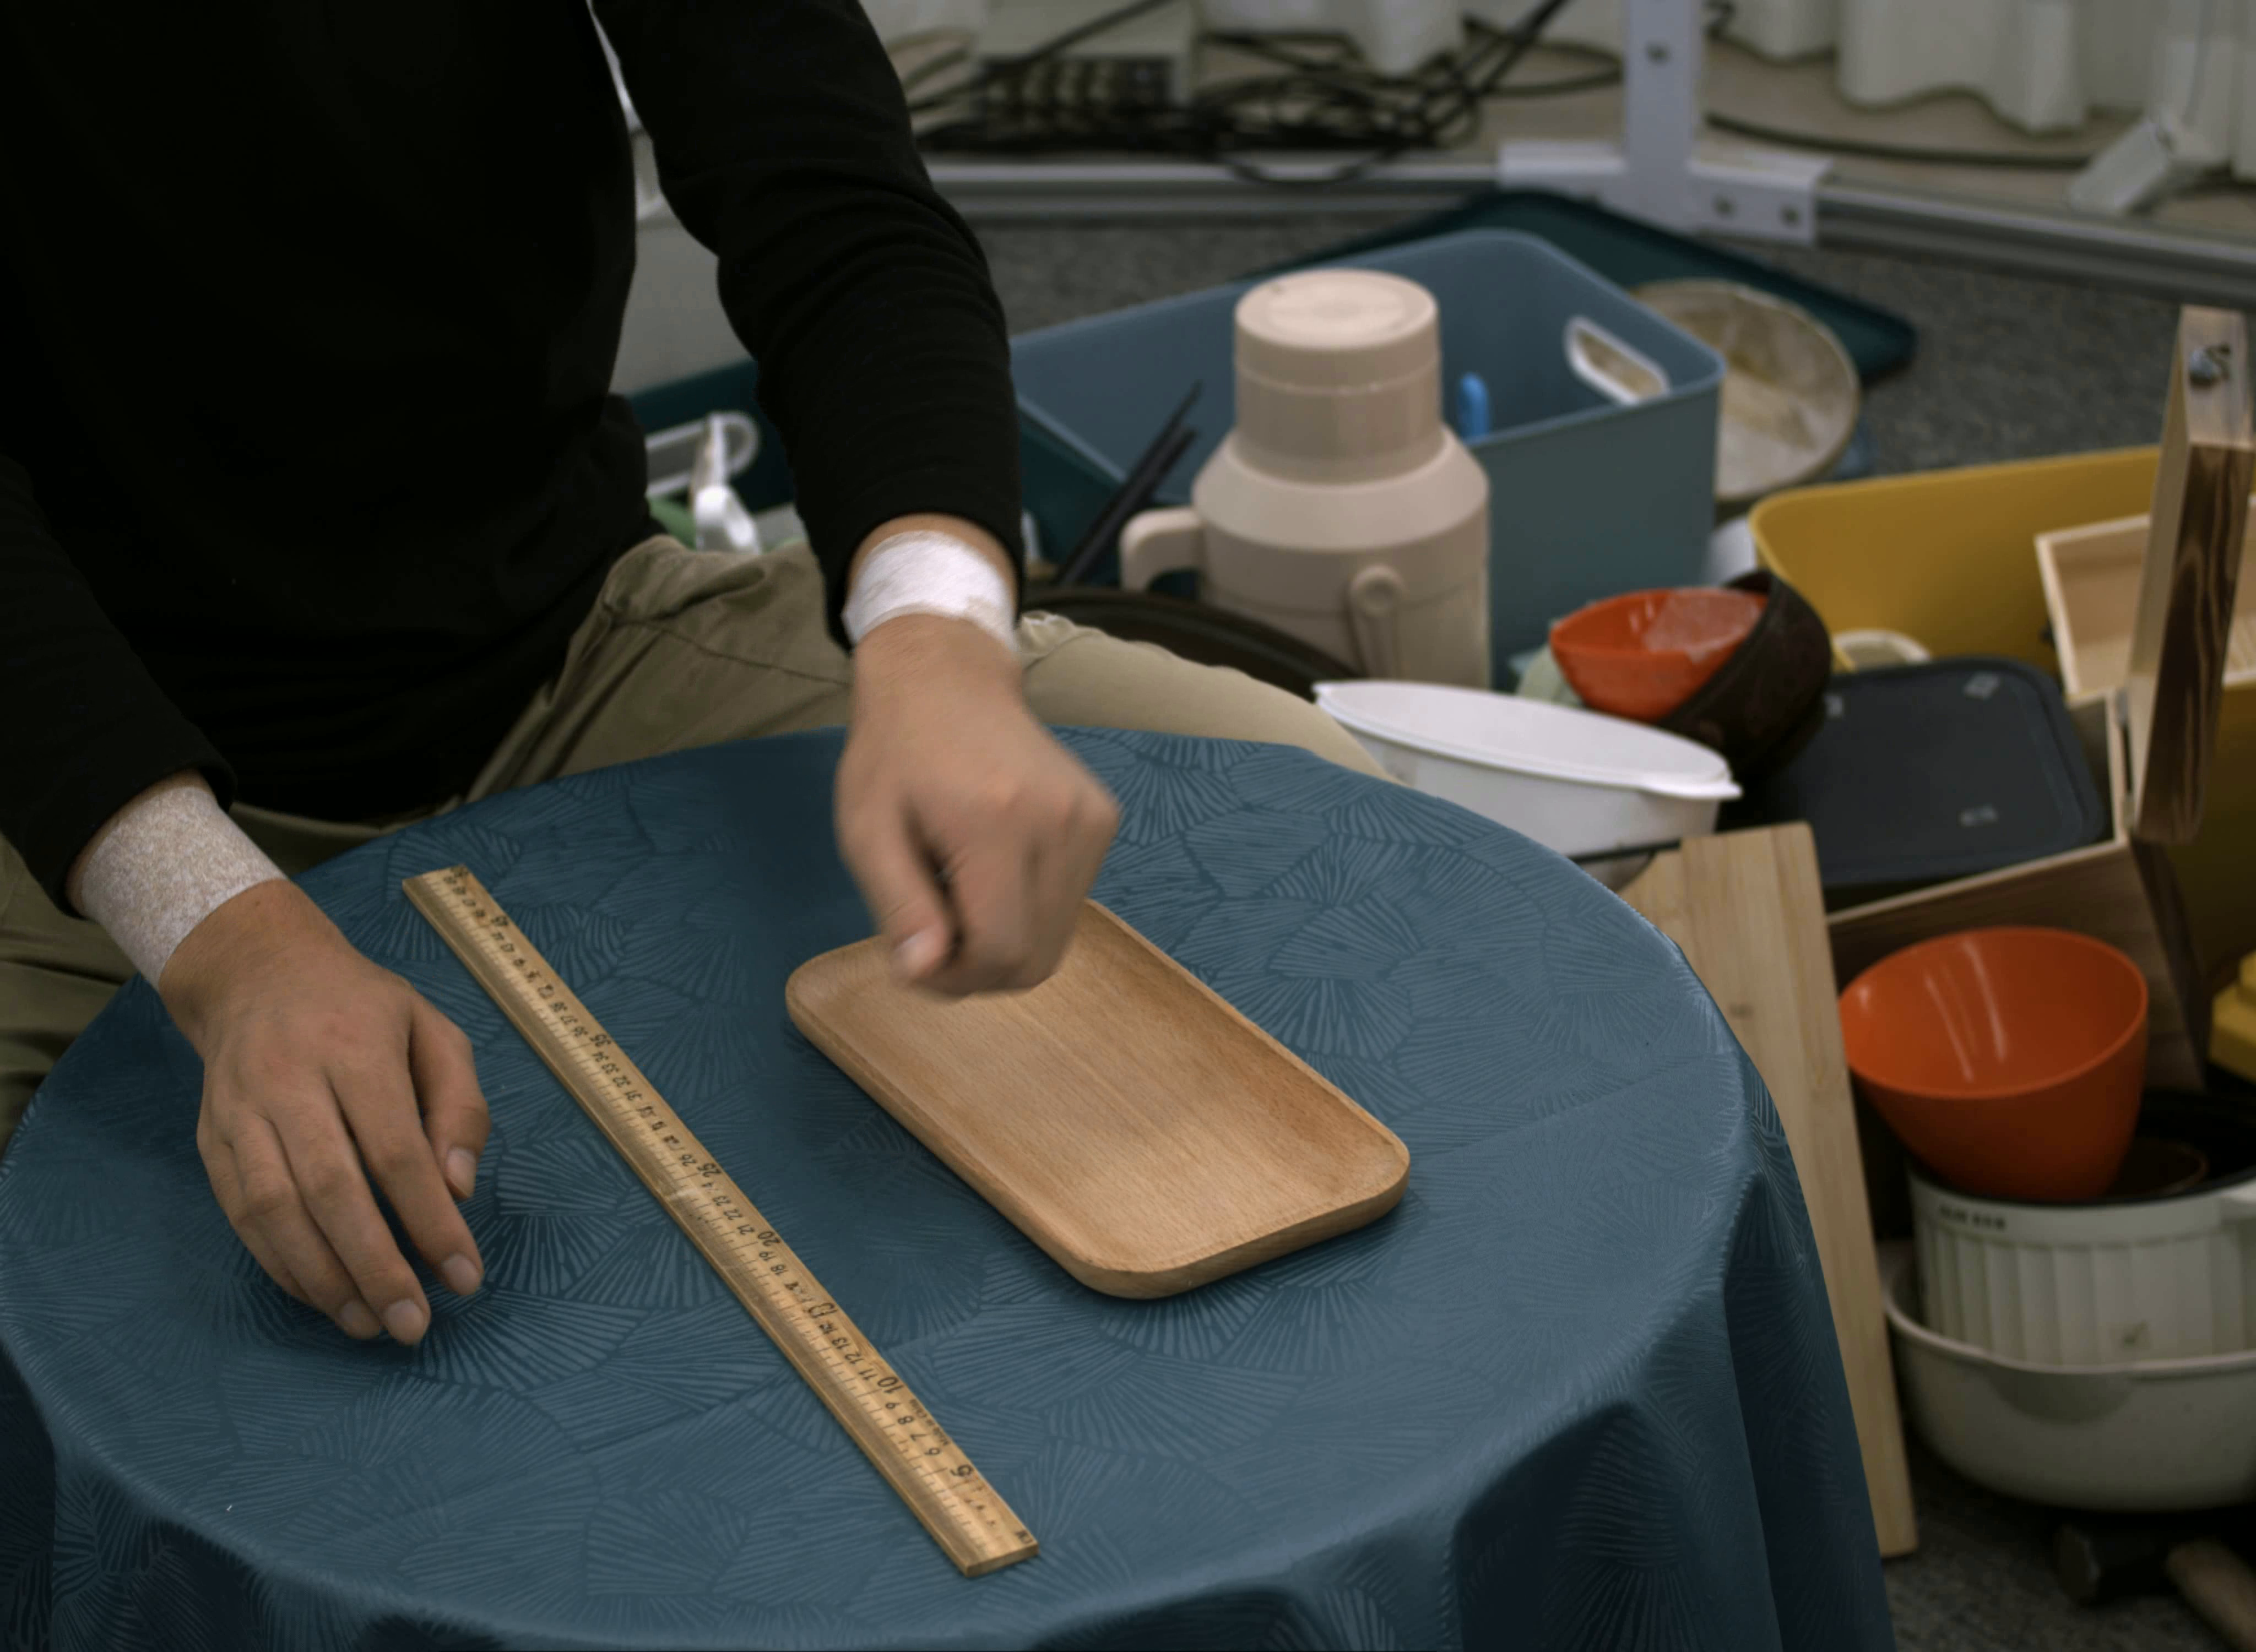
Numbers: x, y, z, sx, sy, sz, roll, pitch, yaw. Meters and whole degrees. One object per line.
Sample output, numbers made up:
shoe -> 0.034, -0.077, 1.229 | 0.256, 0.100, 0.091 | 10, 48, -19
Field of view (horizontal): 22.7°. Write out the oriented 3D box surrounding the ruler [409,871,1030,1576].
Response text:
ruler -> -0.146, 0.120, 1.874 | 0.027, 0.006, 0.503 | -13, 29, -22

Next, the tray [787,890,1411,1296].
tray -> -0.013, 0.088, 1.910 | 0.131, 0.022, 0.252 | -15, 28, -25
